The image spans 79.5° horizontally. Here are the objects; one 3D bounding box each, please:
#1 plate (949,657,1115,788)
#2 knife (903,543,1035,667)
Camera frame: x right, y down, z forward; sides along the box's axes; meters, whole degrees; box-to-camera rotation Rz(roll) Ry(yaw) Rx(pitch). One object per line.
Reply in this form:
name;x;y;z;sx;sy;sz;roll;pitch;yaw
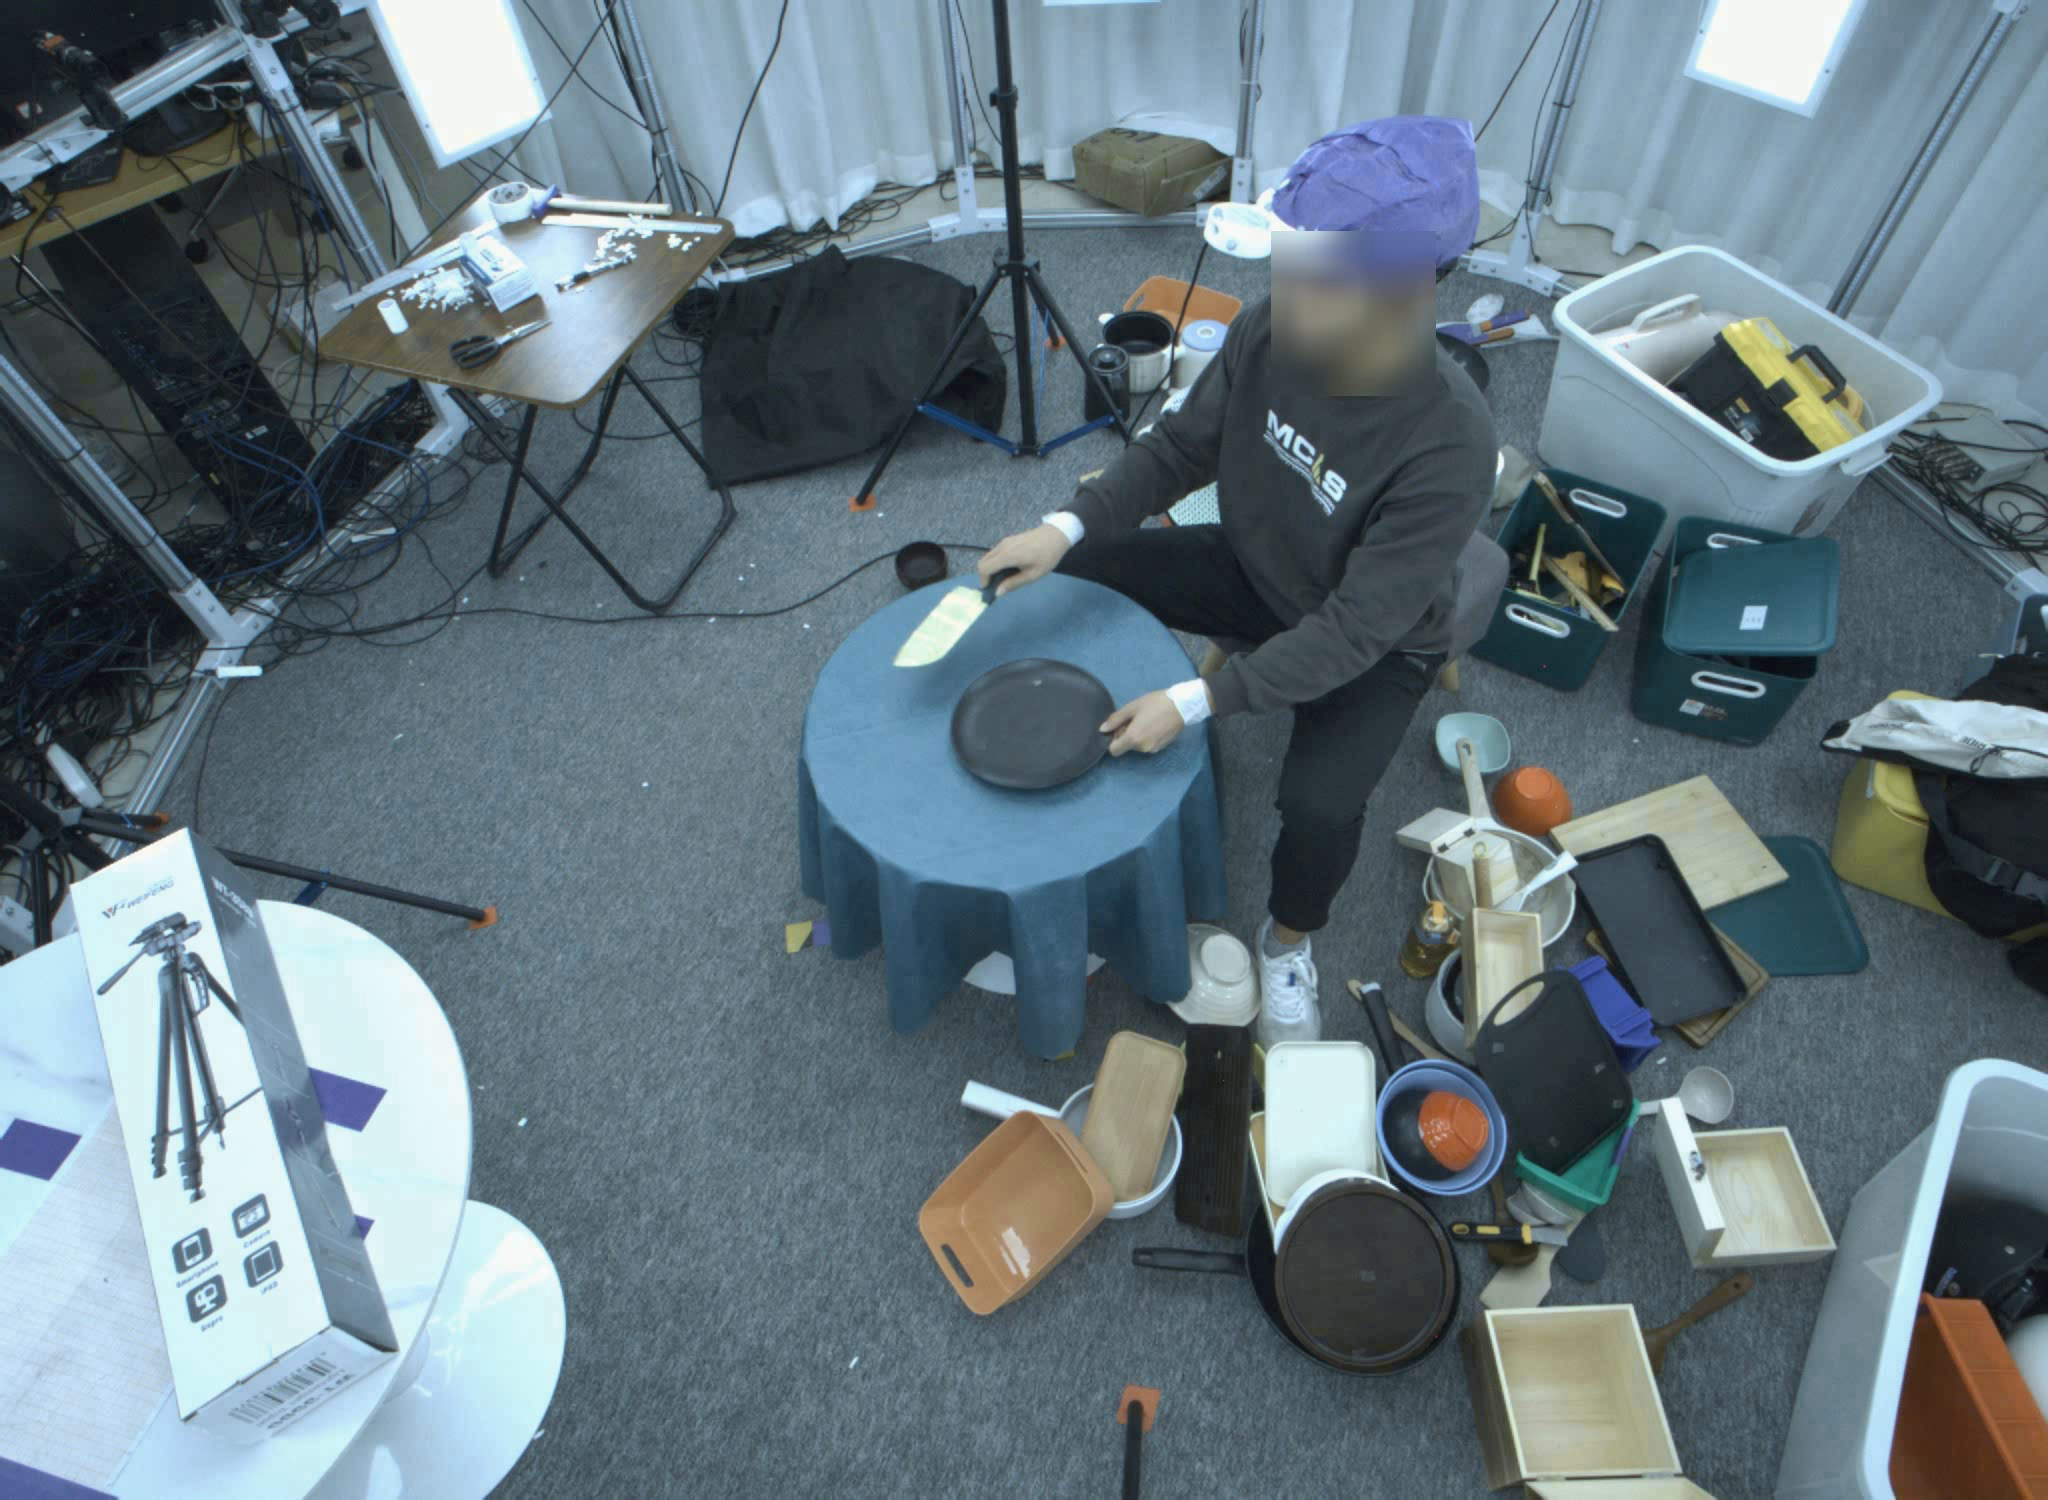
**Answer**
plate;0.012;-0.038;1.801;0.244;0.024;0.242;-2;53;4
knife;-0.083;-0.221;1.846;0.079;0.027;0.291;28;62;28
